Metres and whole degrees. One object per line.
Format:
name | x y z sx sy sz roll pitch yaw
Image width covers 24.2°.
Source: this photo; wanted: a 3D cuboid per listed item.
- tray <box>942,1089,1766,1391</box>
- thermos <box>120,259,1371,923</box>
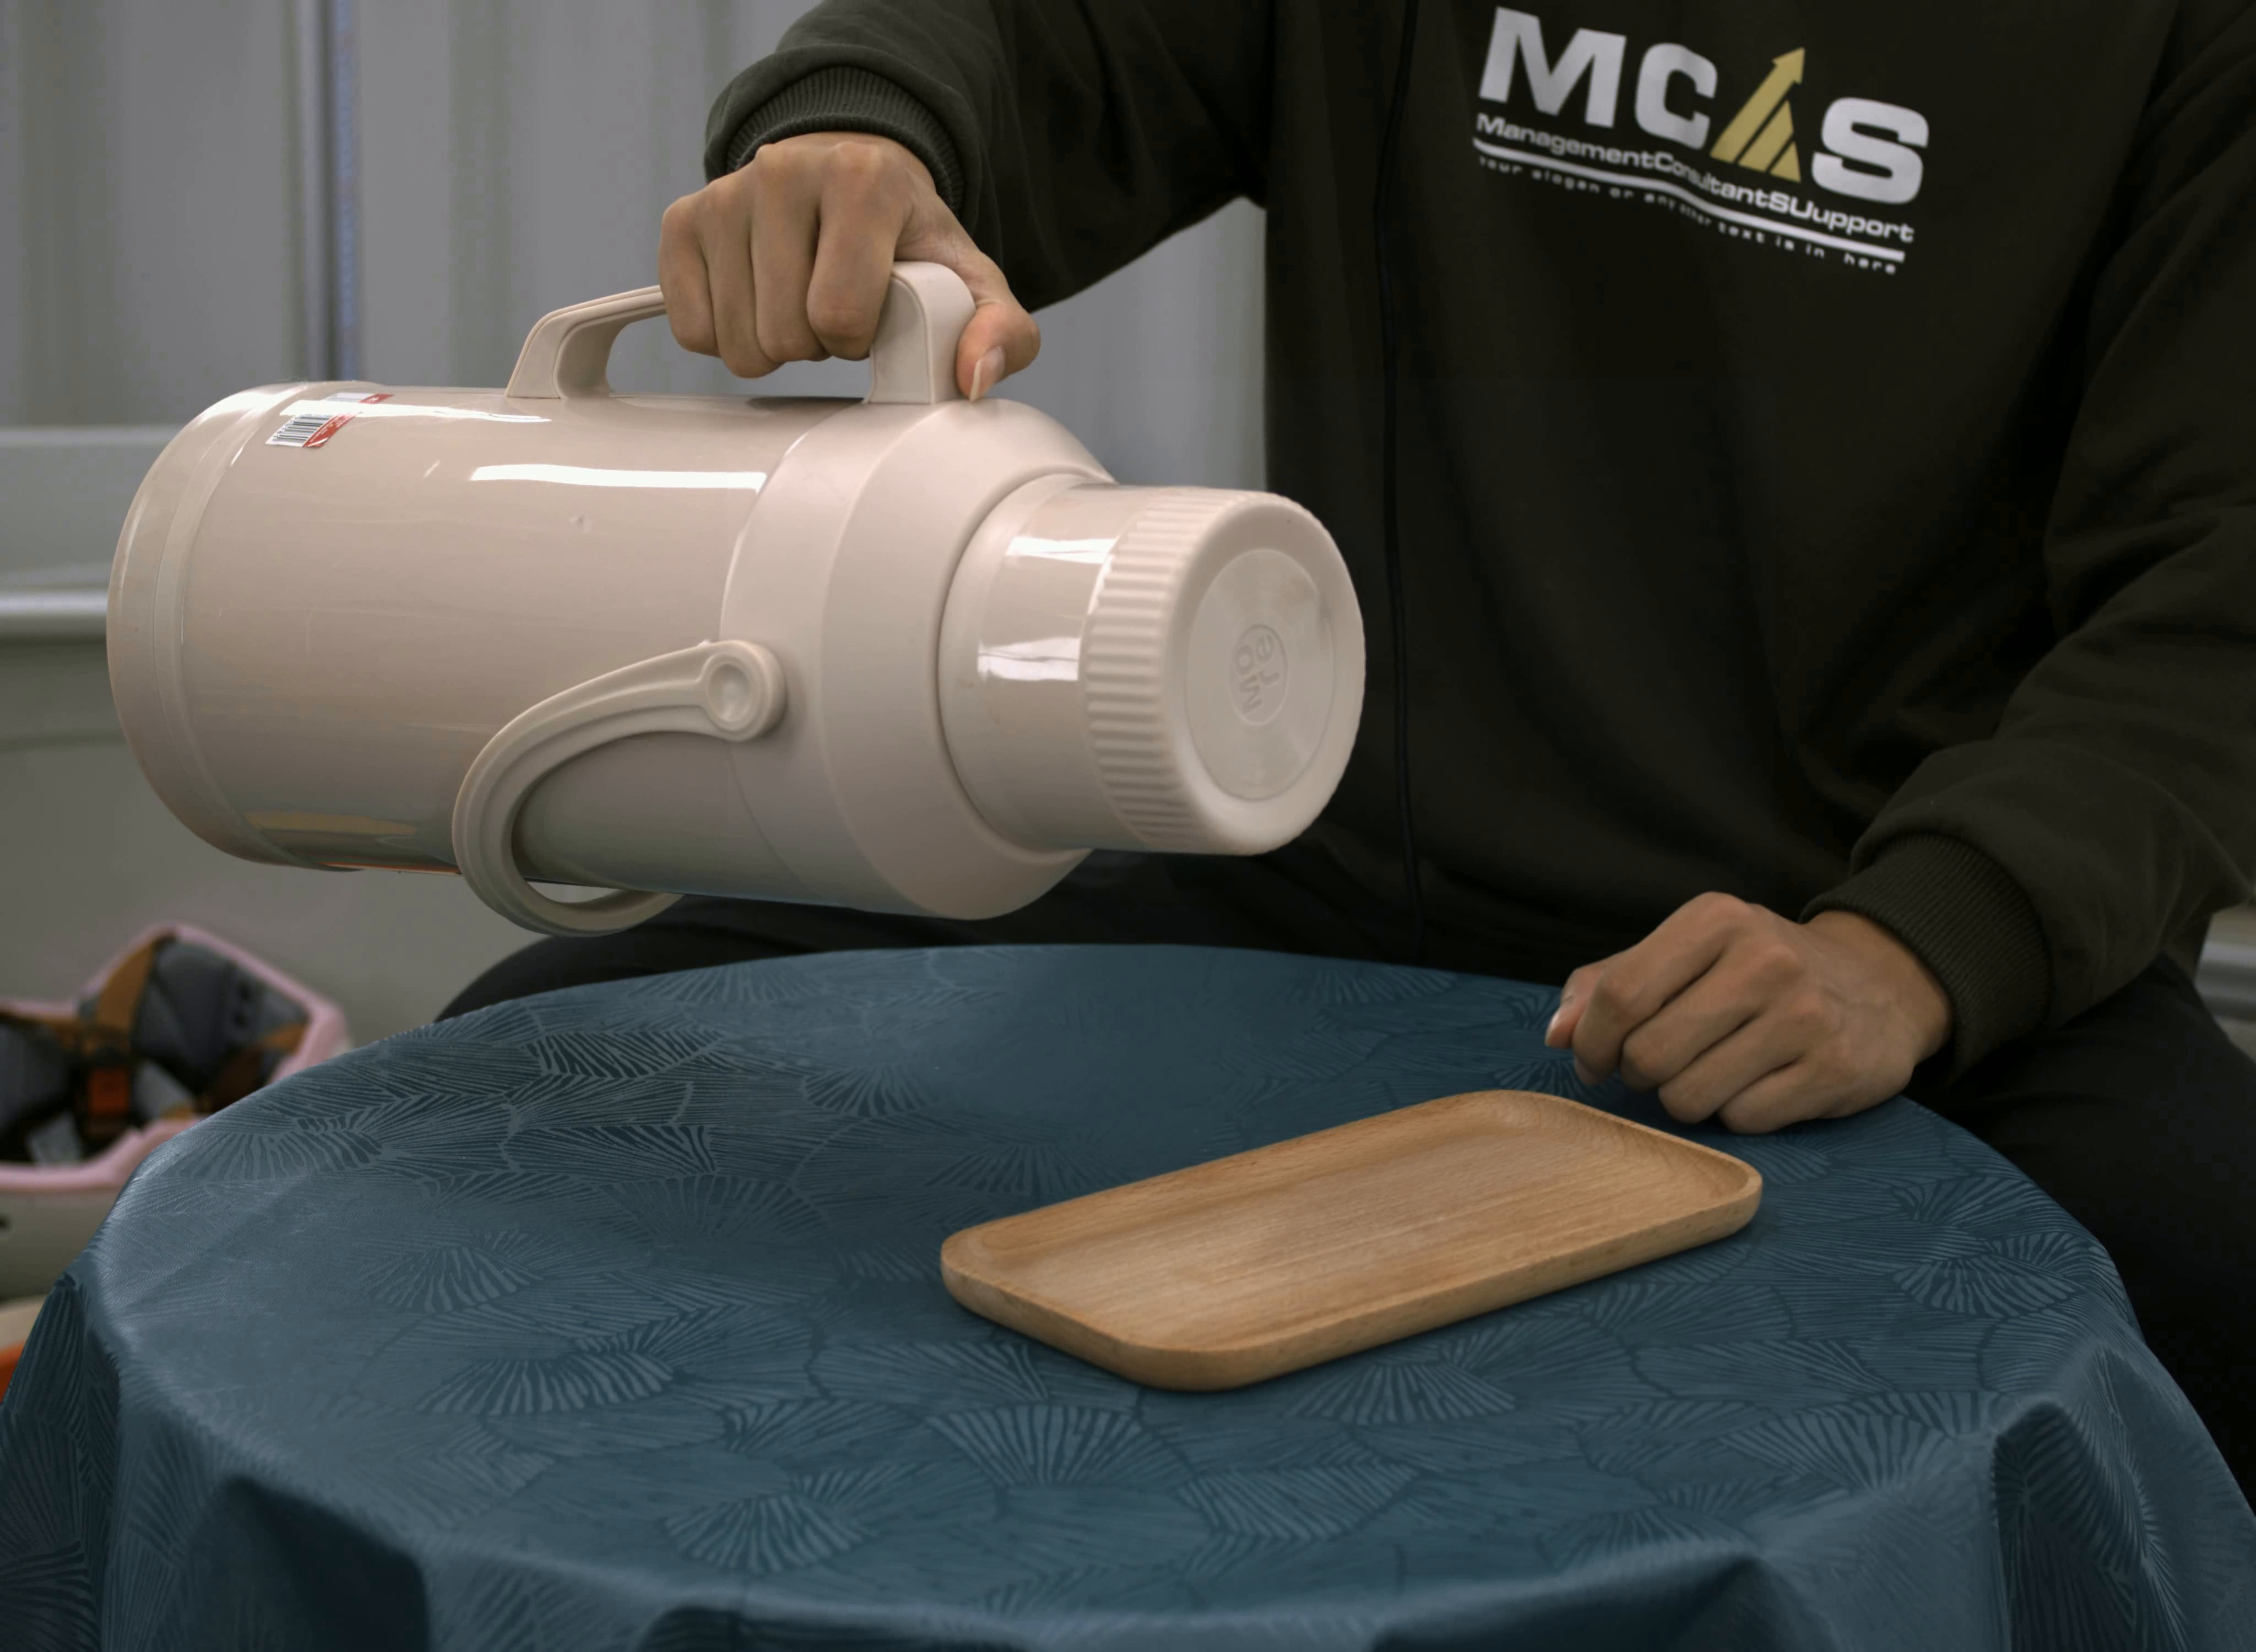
tray | 0.070 0.121 1.573 0.252 0.023 0.129 -11 22 -39
thermos | -0.118 -0.069 1.618 0.401 0.208 0.176 4 12 38
